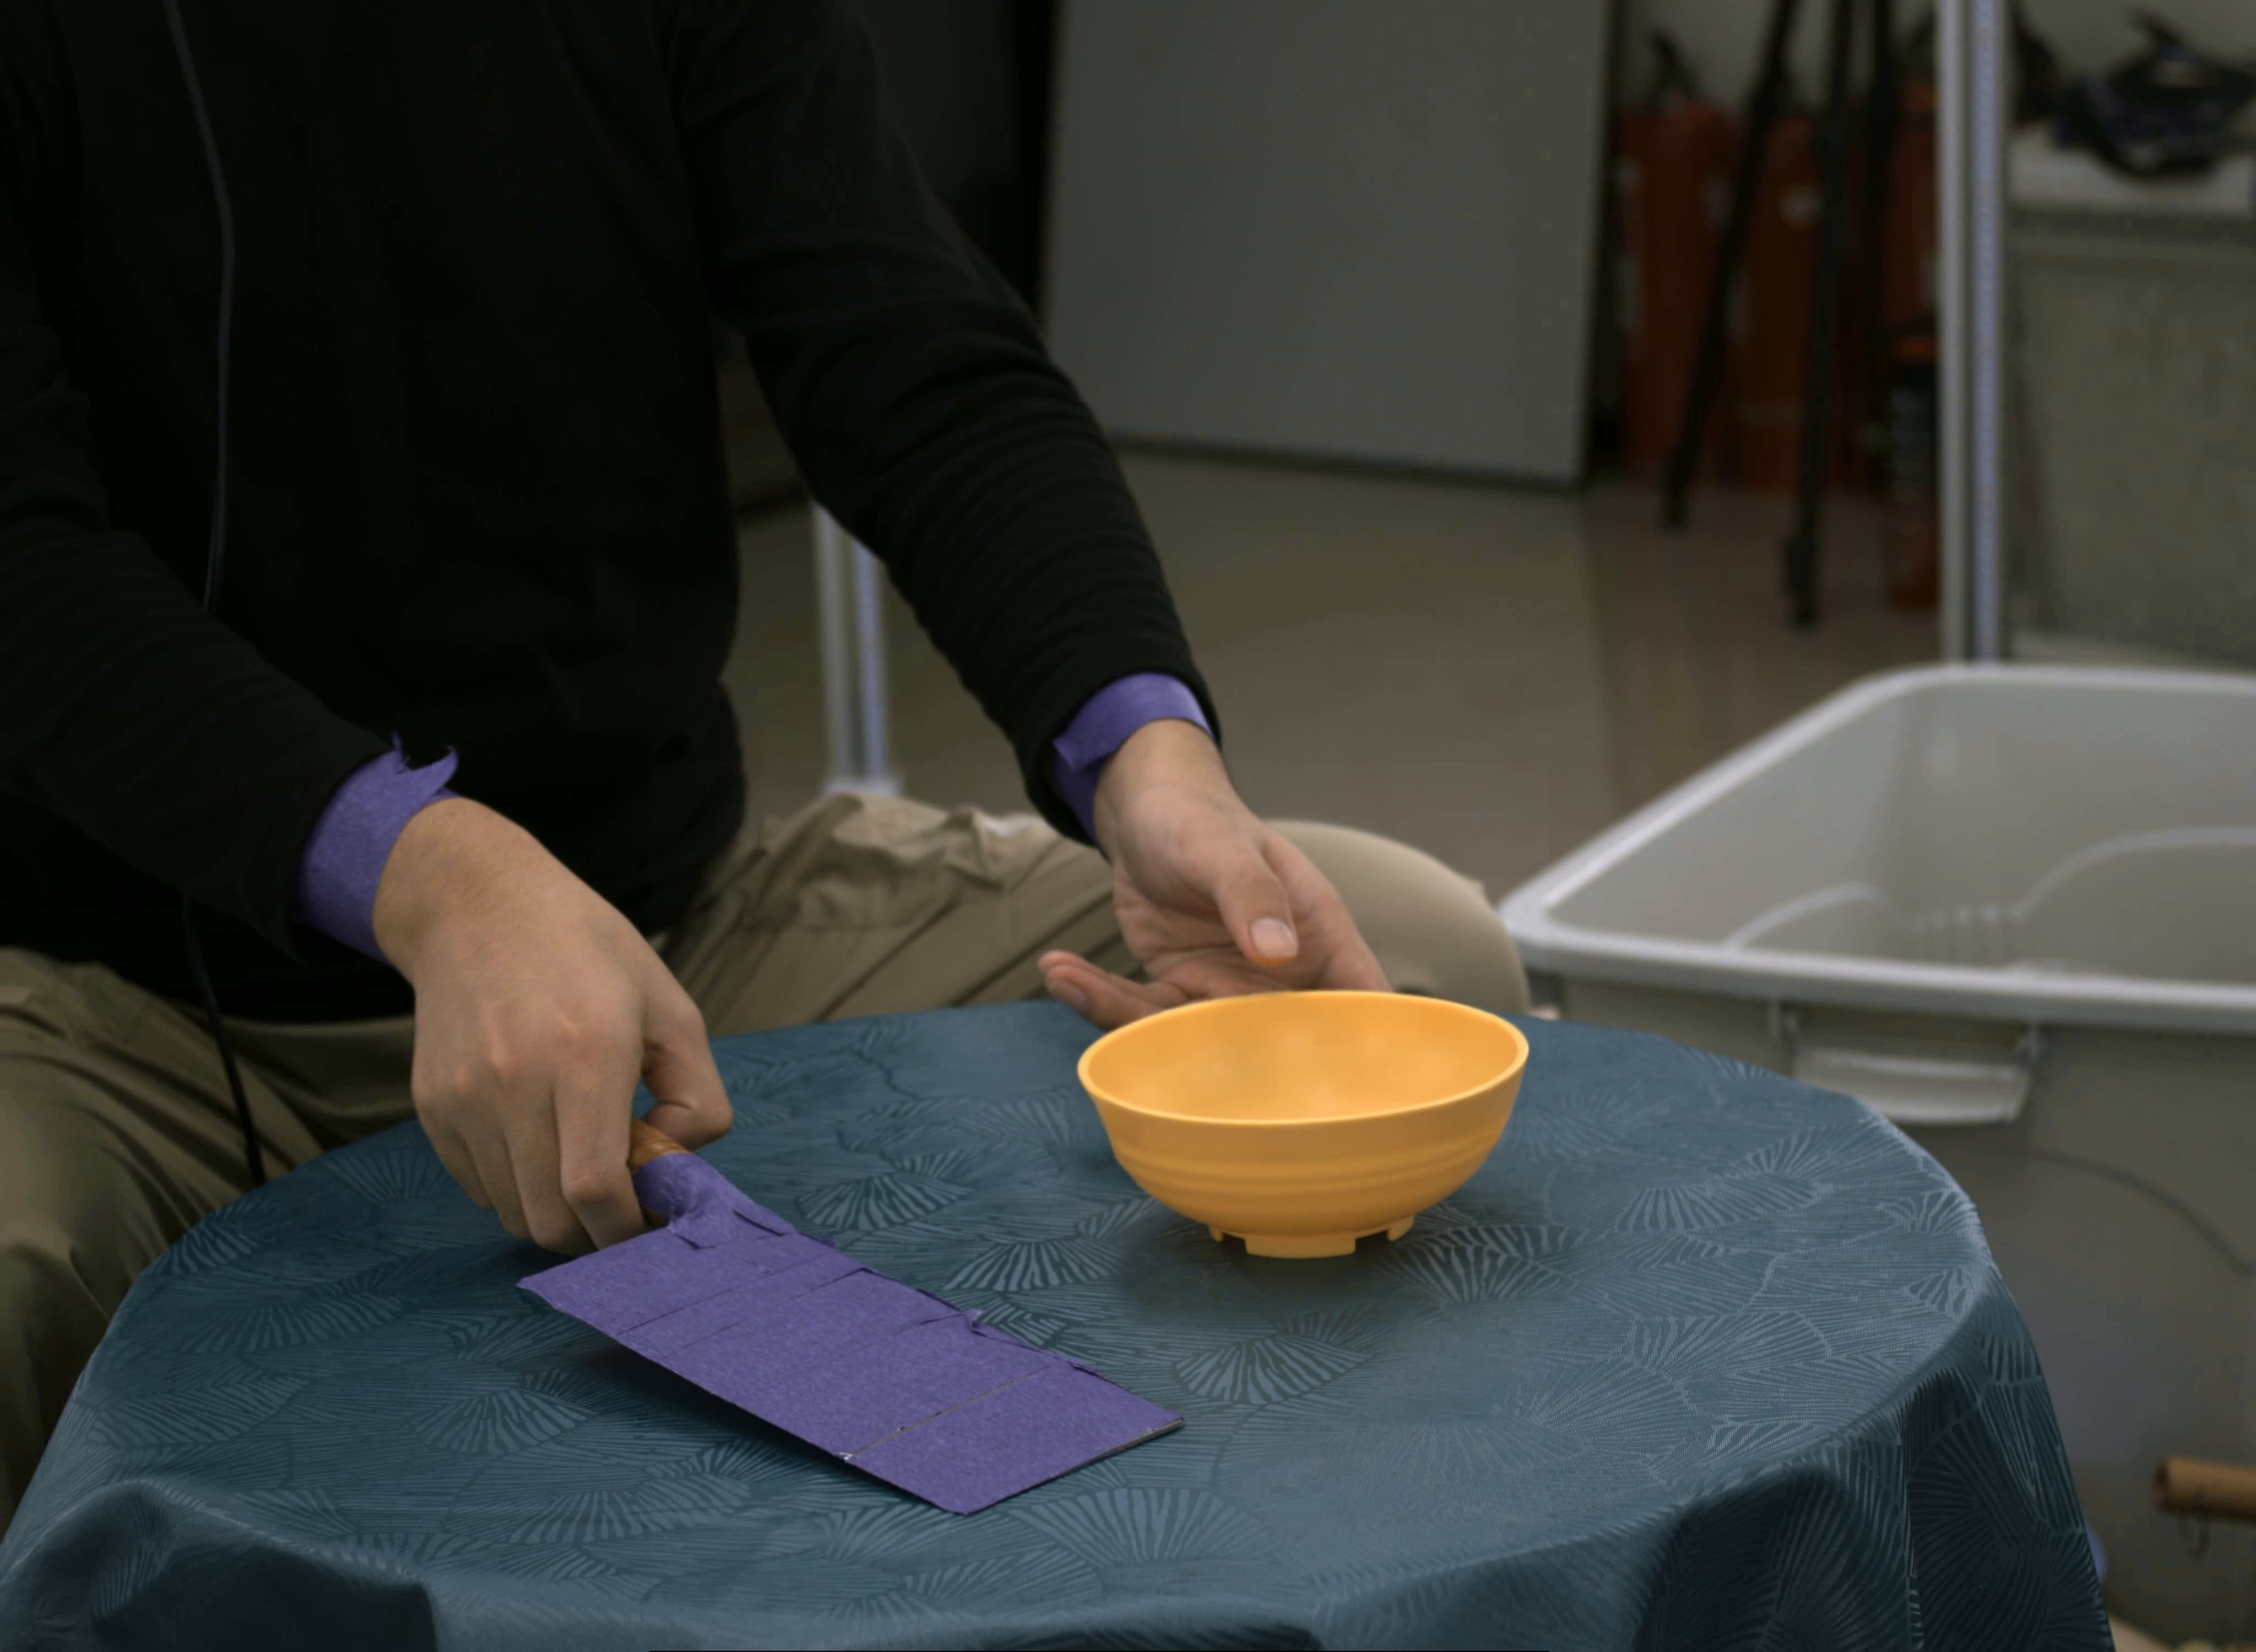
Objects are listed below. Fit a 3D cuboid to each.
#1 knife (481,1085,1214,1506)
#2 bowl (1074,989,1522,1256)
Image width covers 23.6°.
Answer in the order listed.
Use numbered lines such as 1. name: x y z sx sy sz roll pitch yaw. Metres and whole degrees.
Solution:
1. knife: -0.115 0.139 1.636 0.101 0.032 0.318 -16 23 -40
2. bowl: 0.055 0.099 1.719 0.143 0.061 0.145 -2 14 0
